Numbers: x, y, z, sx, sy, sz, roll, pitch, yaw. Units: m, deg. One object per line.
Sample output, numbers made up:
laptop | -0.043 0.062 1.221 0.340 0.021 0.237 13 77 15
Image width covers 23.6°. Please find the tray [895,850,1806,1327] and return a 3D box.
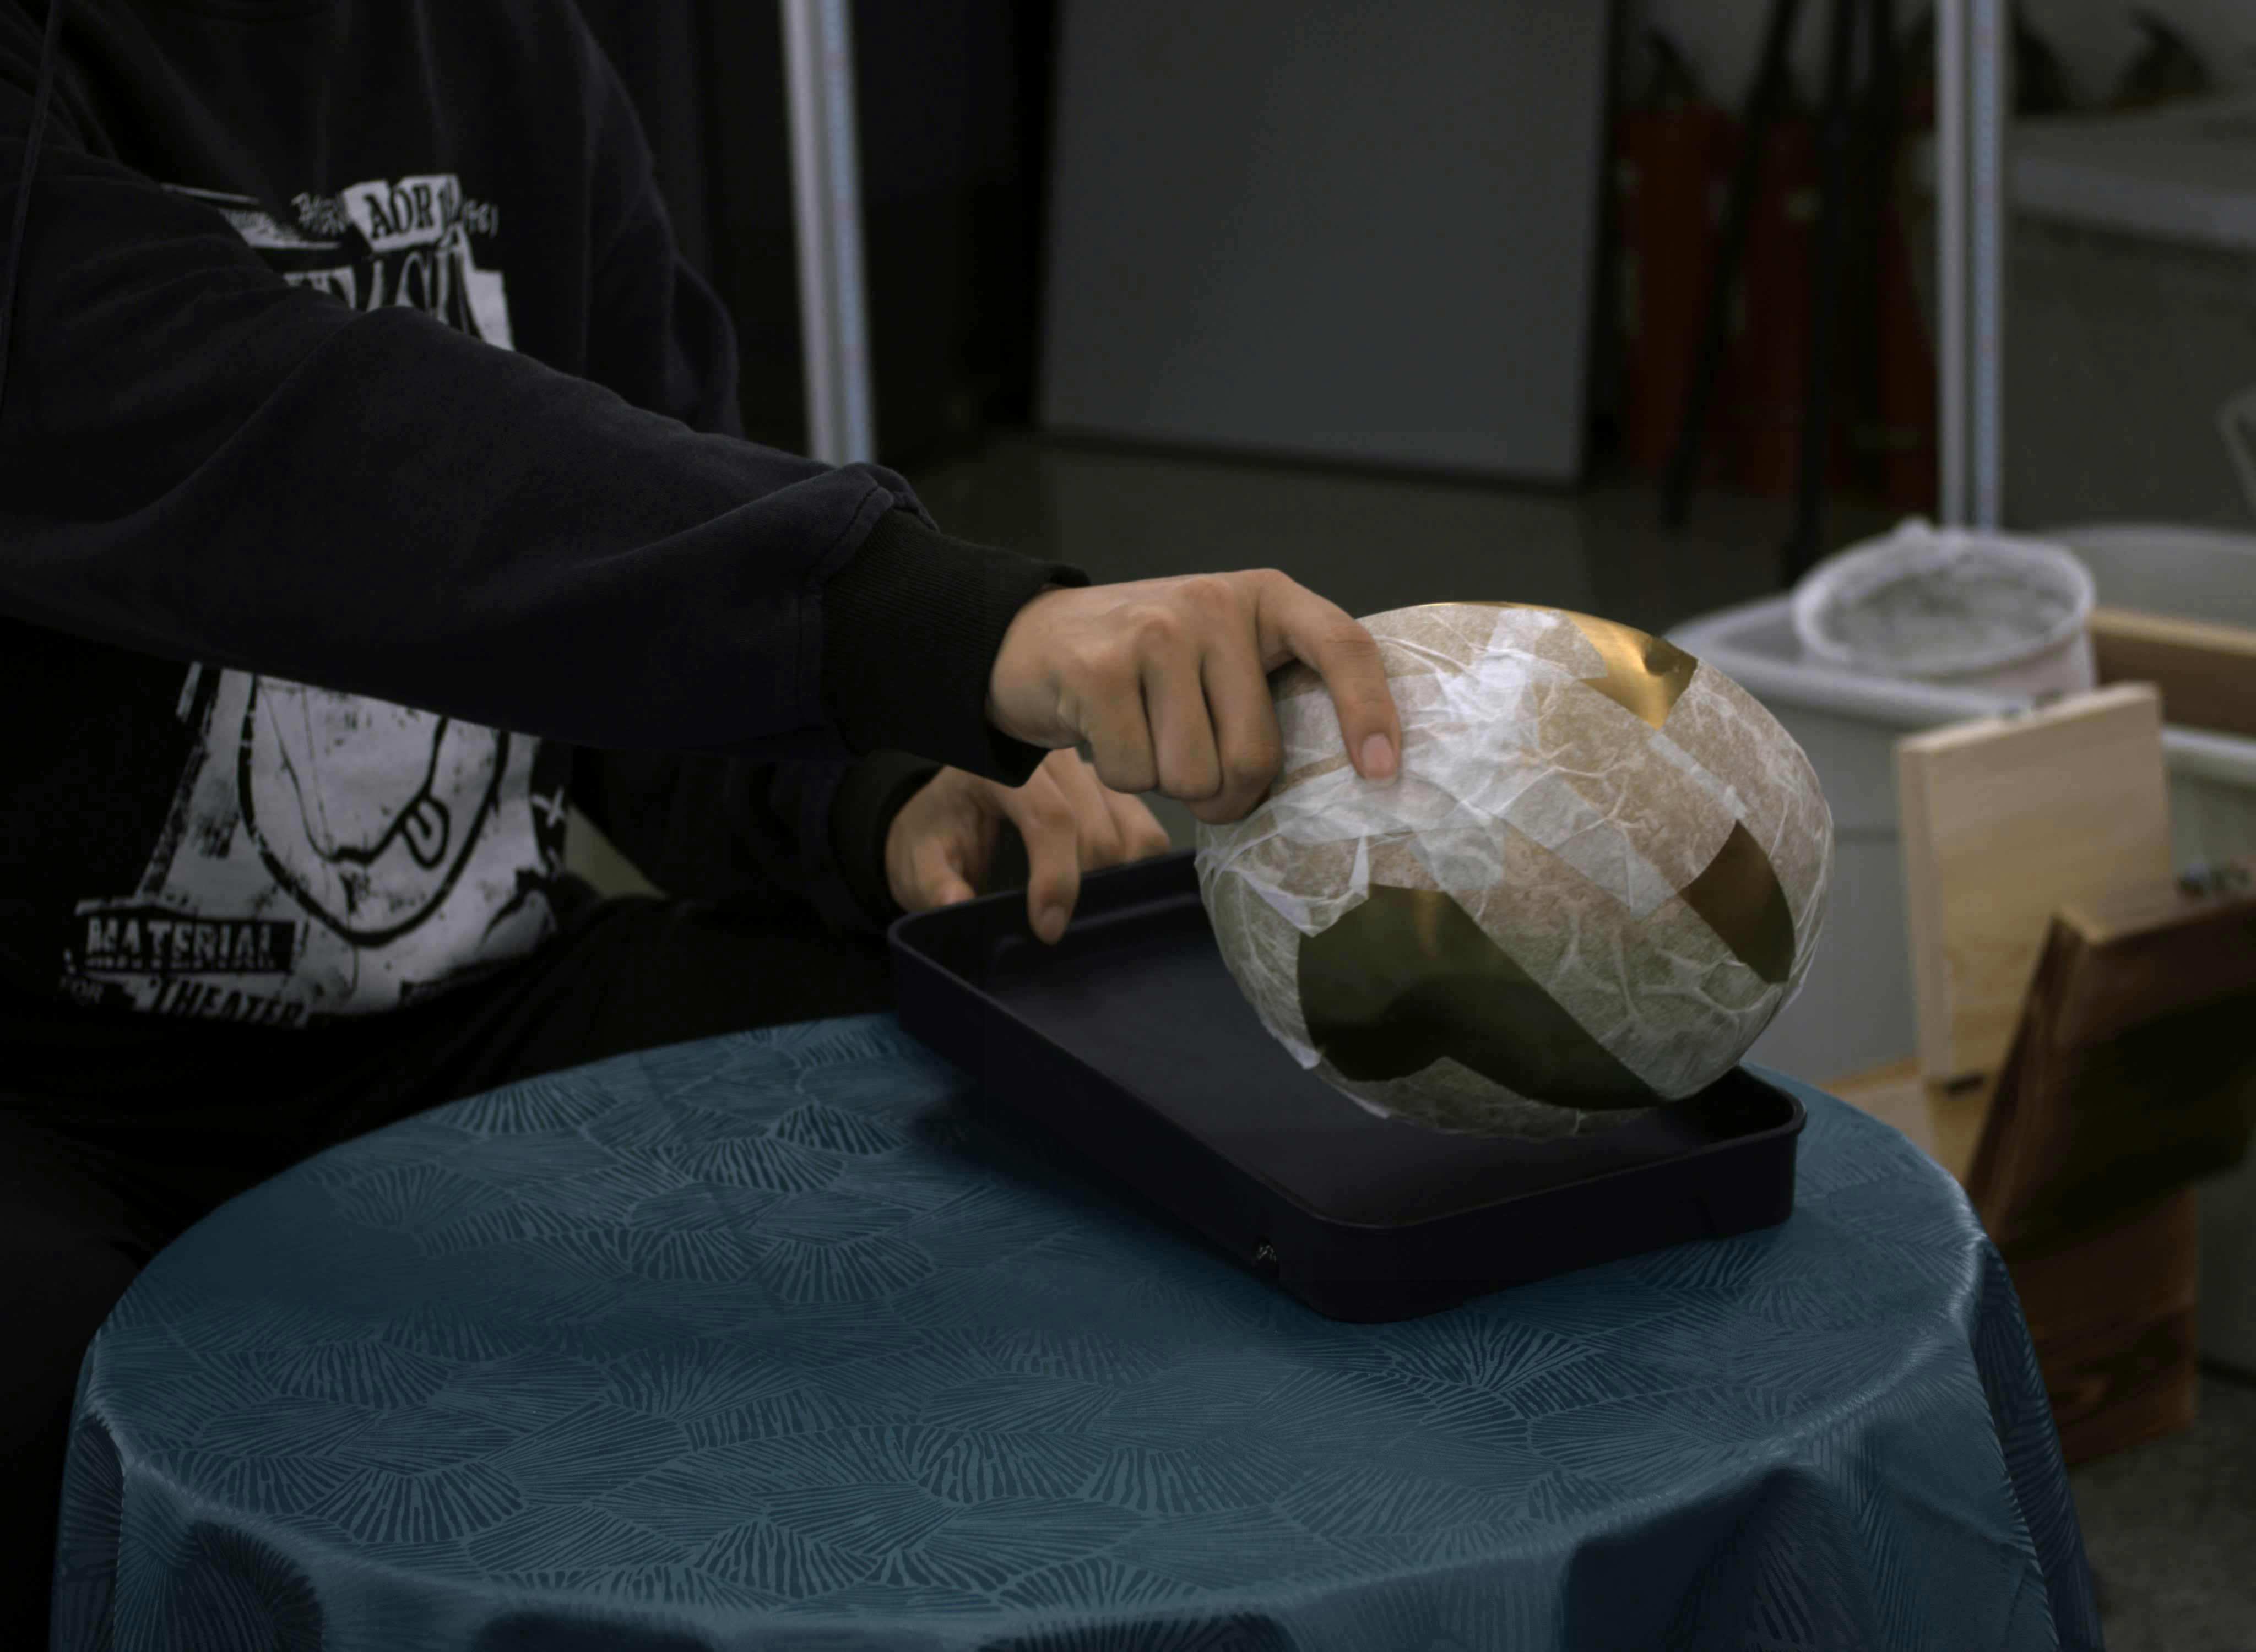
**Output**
tray | 0.067 0.077 1.783 0.180 0.037 0.321 -13 22 -25

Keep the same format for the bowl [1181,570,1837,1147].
bowl | 0.109 0.032 1.655 0.214 0.215 0.095 1 45 17
